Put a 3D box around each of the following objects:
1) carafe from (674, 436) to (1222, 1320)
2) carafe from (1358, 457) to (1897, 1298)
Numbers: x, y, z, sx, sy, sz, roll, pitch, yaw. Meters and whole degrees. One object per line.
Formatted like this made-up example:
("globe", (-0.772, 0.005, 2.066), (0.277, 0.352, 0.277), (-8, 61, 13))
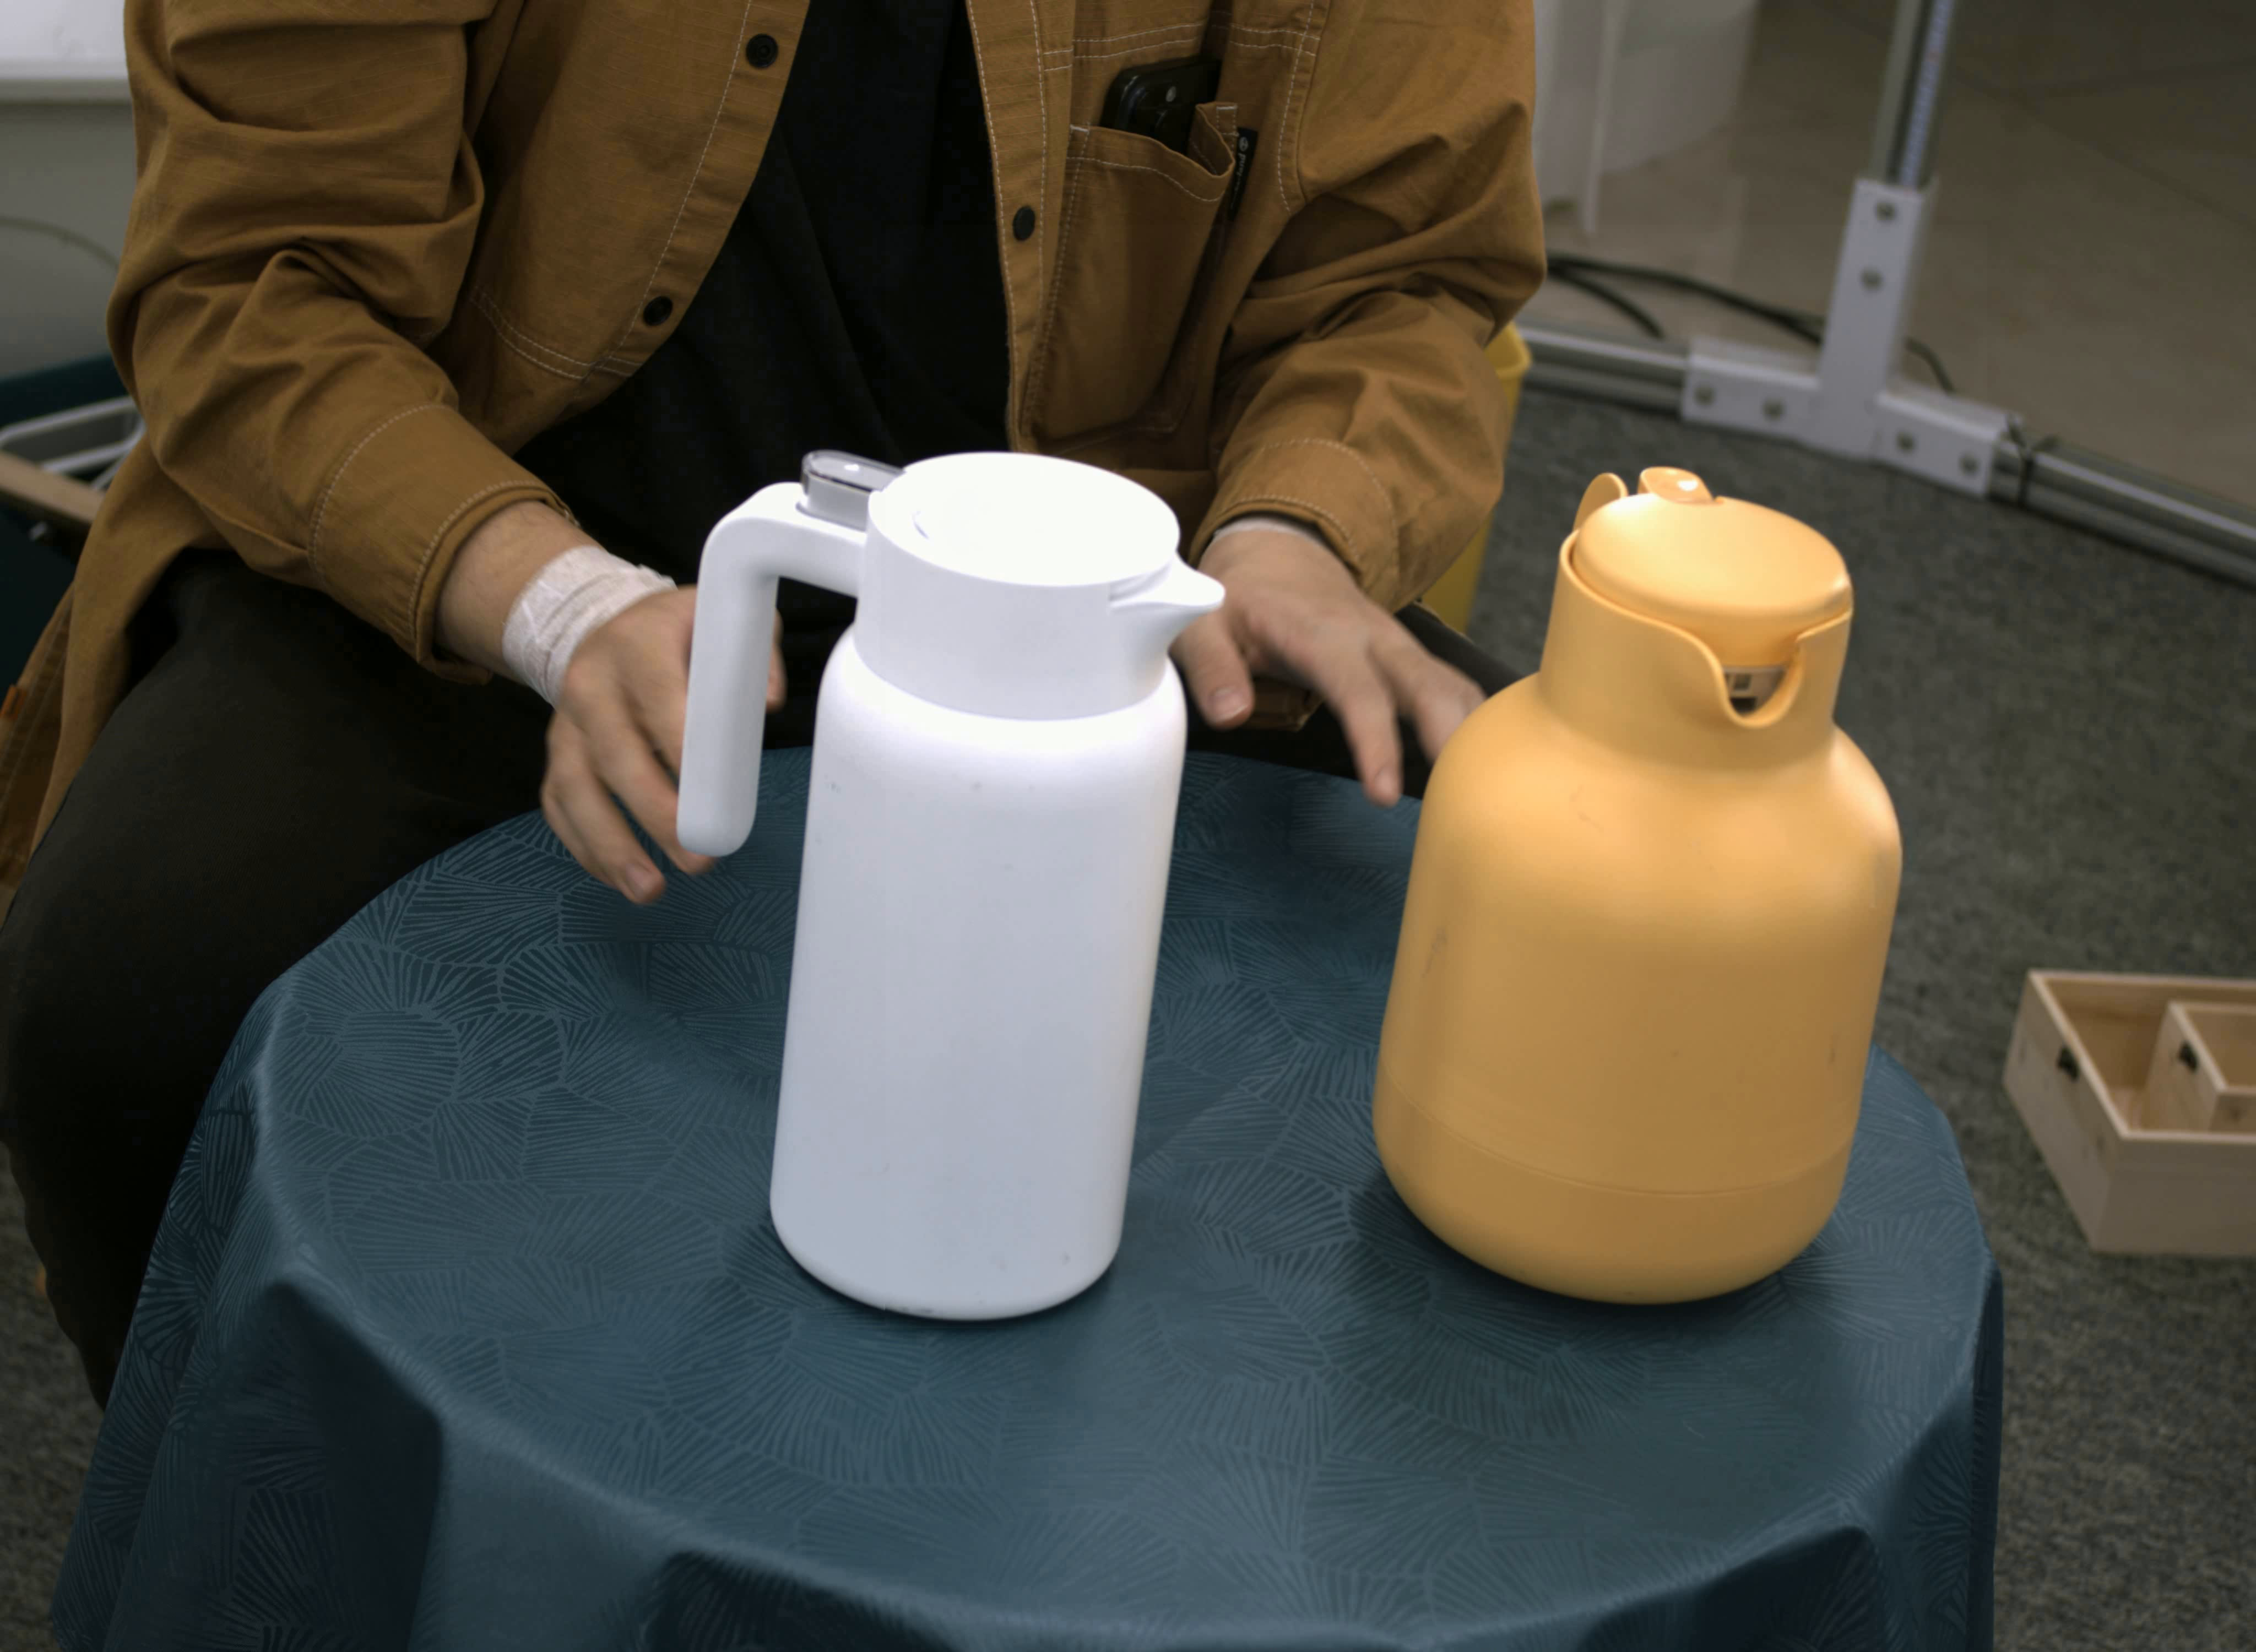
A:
("carafe", (-0.064, 0.015, 1.711), (0.173, 0.268, 0.124), (16, 29, 17))
("carafe", (0.171, 0.008, 1.781), (0.162, 0.259, 0.204), (6, 28, -9))
